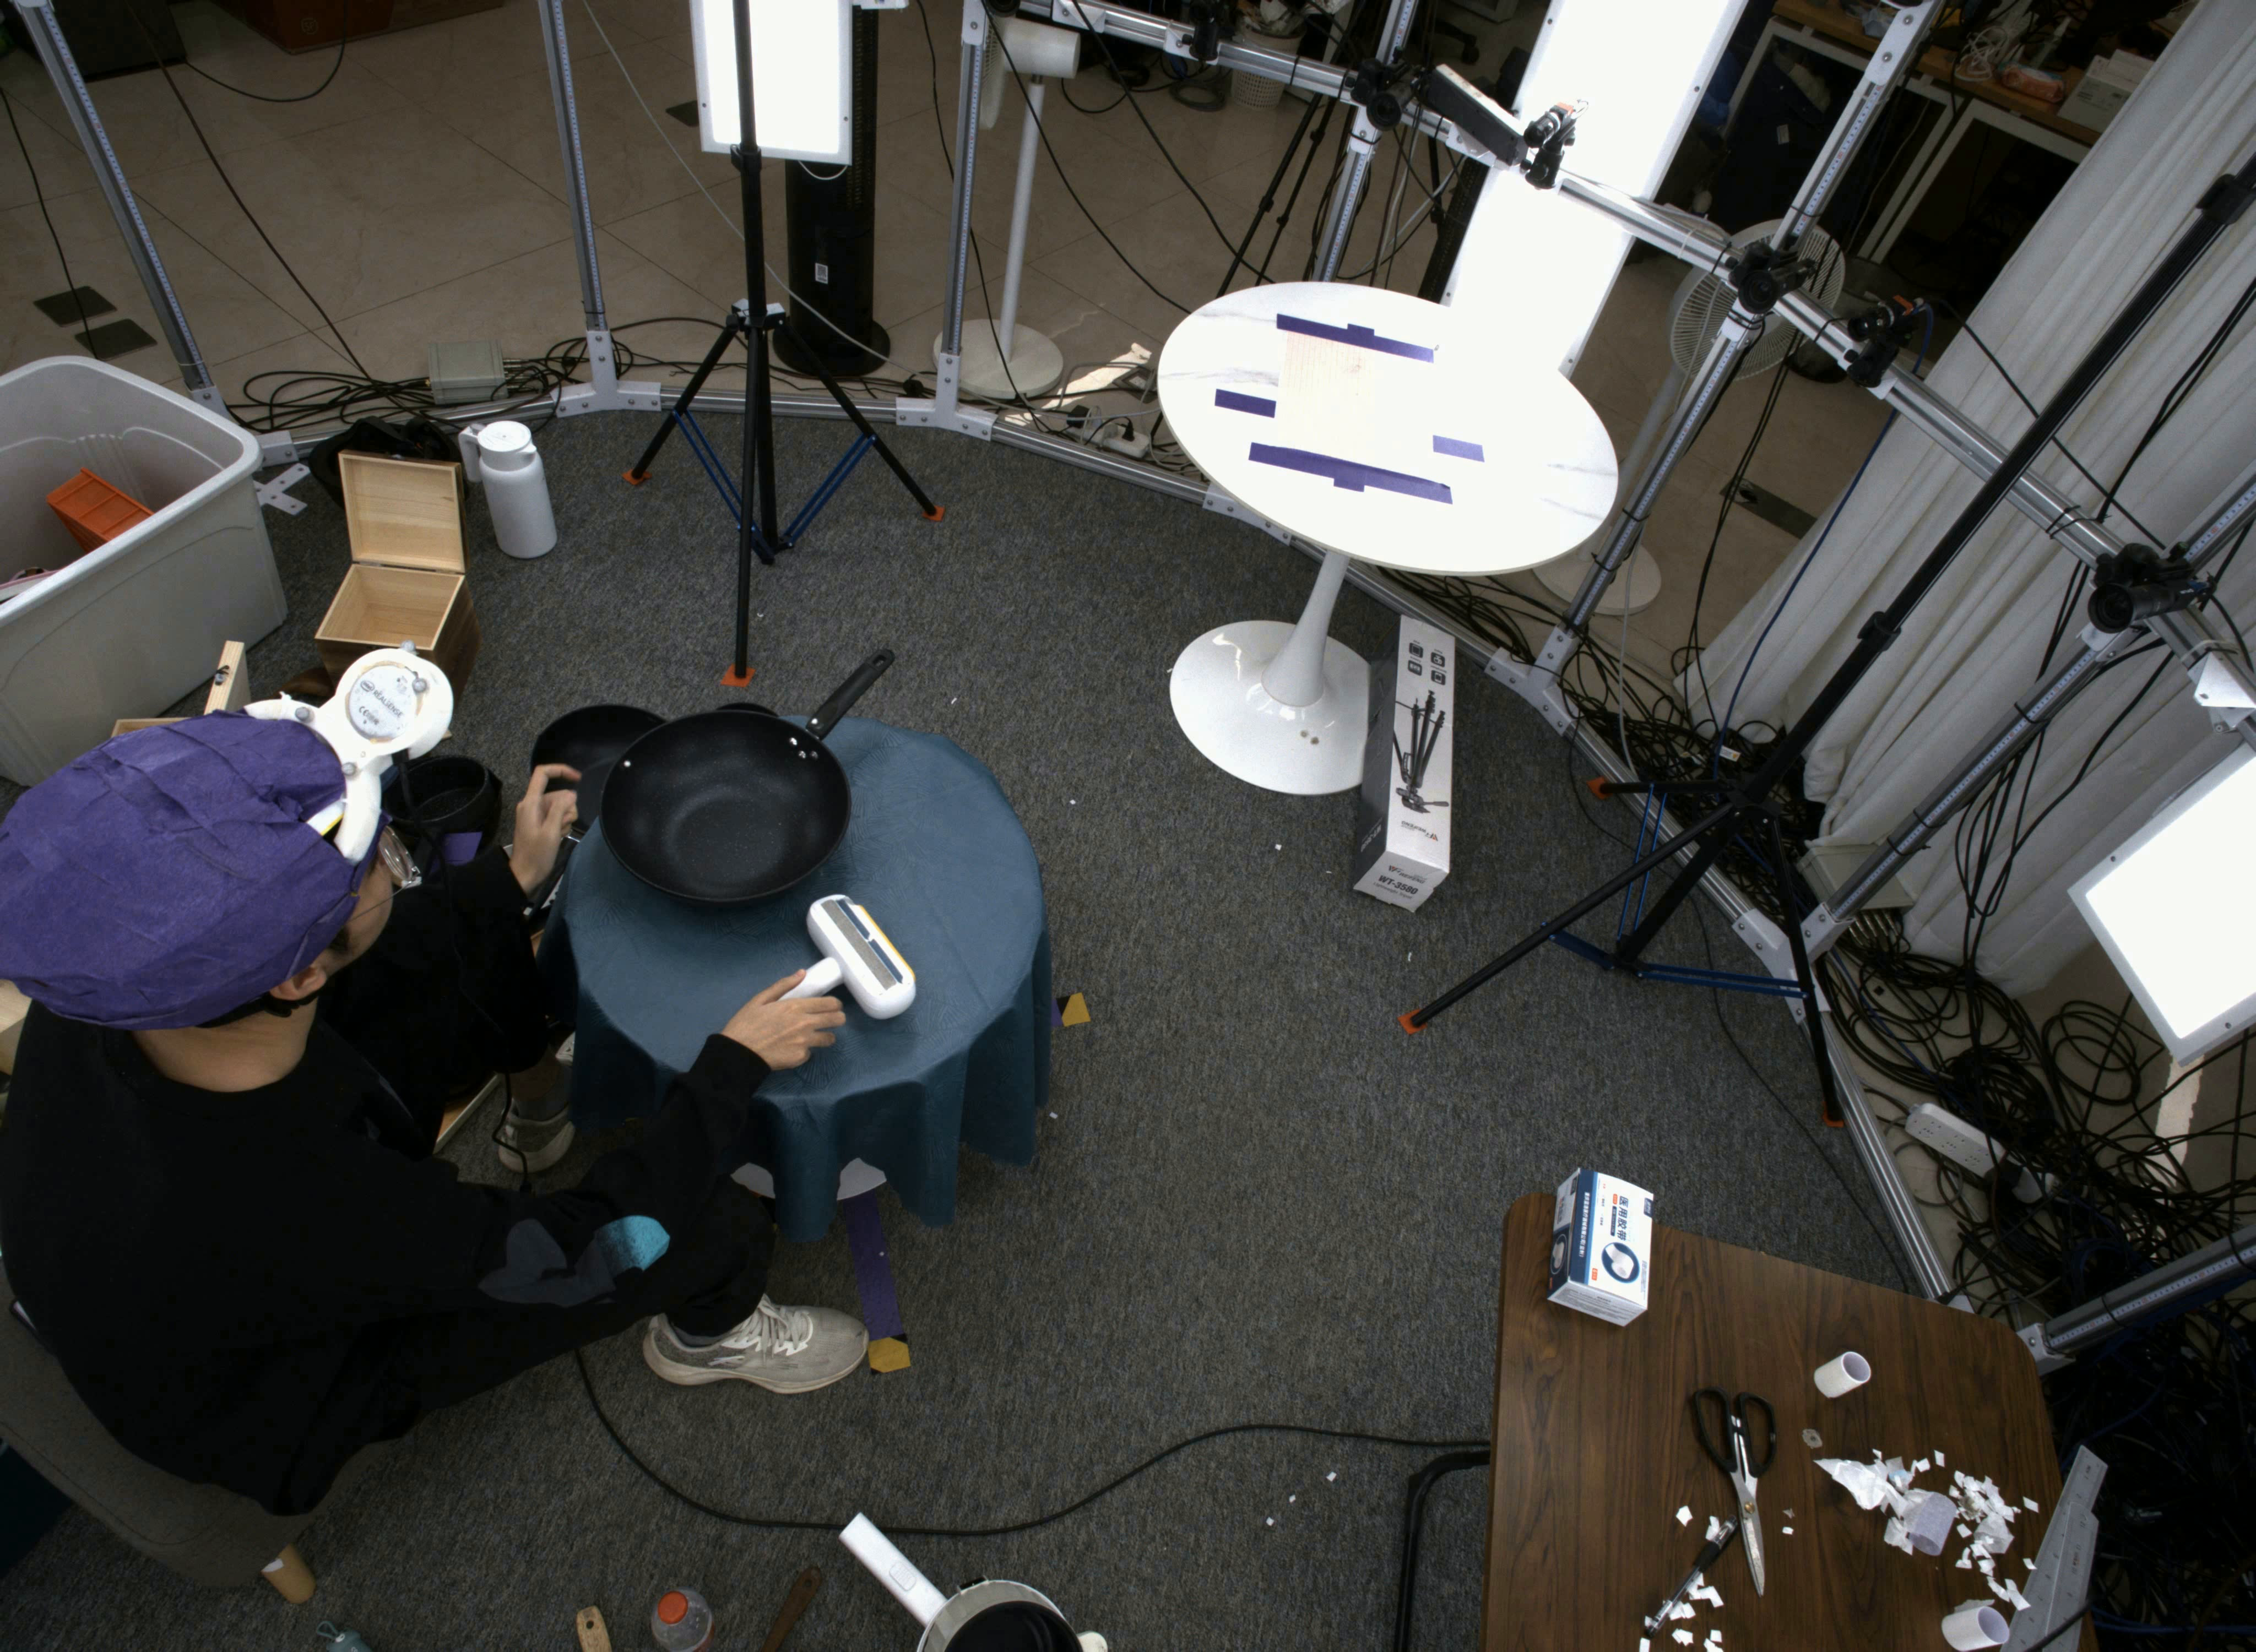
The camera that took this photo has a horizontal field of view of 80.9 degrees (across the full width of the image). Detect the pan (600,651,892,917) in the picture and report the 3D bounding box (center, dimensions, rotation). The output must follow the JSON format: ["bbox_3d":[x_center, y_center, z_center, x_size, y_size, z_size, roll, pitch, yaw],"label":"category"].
[{"bbox_3d":[-0.469,-0.061,1.694,0.305,0.113,0.476,34,53,9],"label":"pan"}]

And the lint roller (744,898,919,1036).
[{"bbox_3d":[-0.372,0.186,1.563,0.193,0.076,0.187,-23,57,-26],"label":"lint roller"}]
